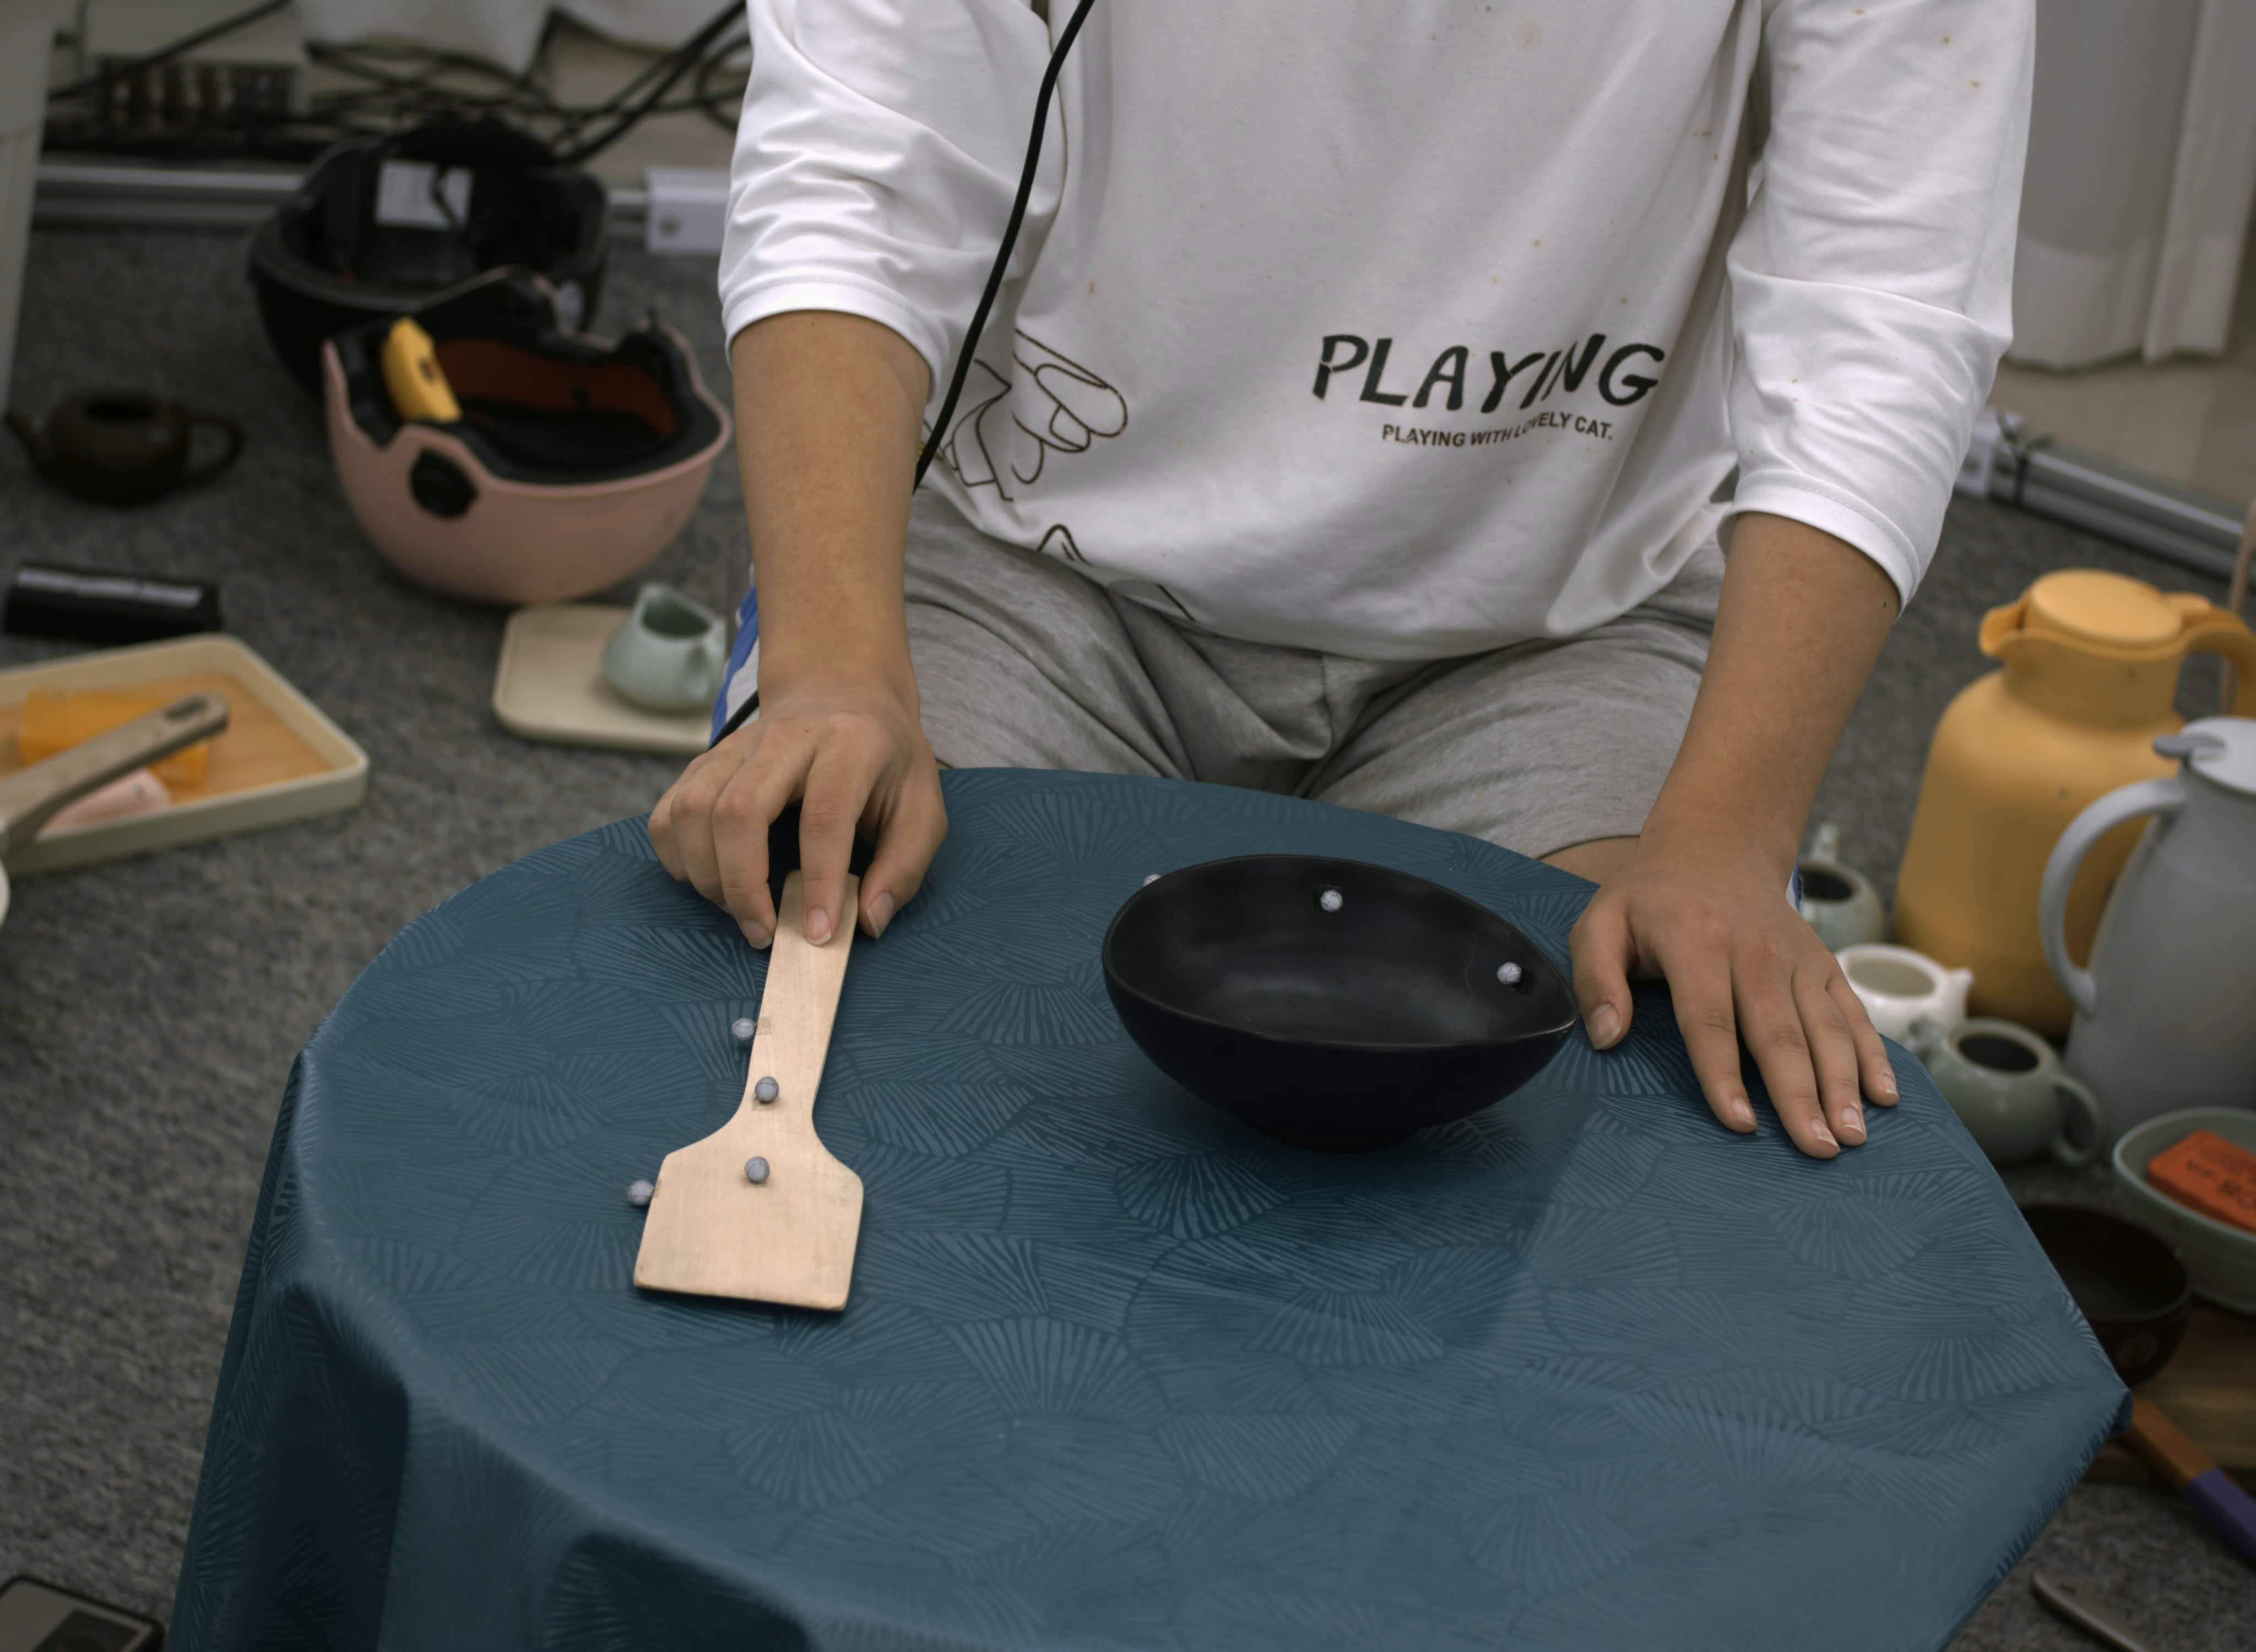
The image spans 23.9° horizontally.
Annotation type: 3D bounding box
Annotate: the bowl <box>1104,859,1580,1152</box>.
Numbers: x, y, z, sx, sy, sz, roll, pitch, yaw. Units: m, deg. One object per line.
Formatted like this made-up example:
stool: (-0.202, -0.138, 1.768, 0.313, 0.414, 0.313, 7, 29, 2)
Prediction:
bowl: (0.071, 0.069, 1.860, 0.169, 0.066, 0.138, 3, 26, -12)

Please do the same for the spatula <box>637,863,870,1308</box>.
spatula: (-0.118, 0.085, 1.841, 0.072, 0.010, 0.294, 6, 28, 0)
